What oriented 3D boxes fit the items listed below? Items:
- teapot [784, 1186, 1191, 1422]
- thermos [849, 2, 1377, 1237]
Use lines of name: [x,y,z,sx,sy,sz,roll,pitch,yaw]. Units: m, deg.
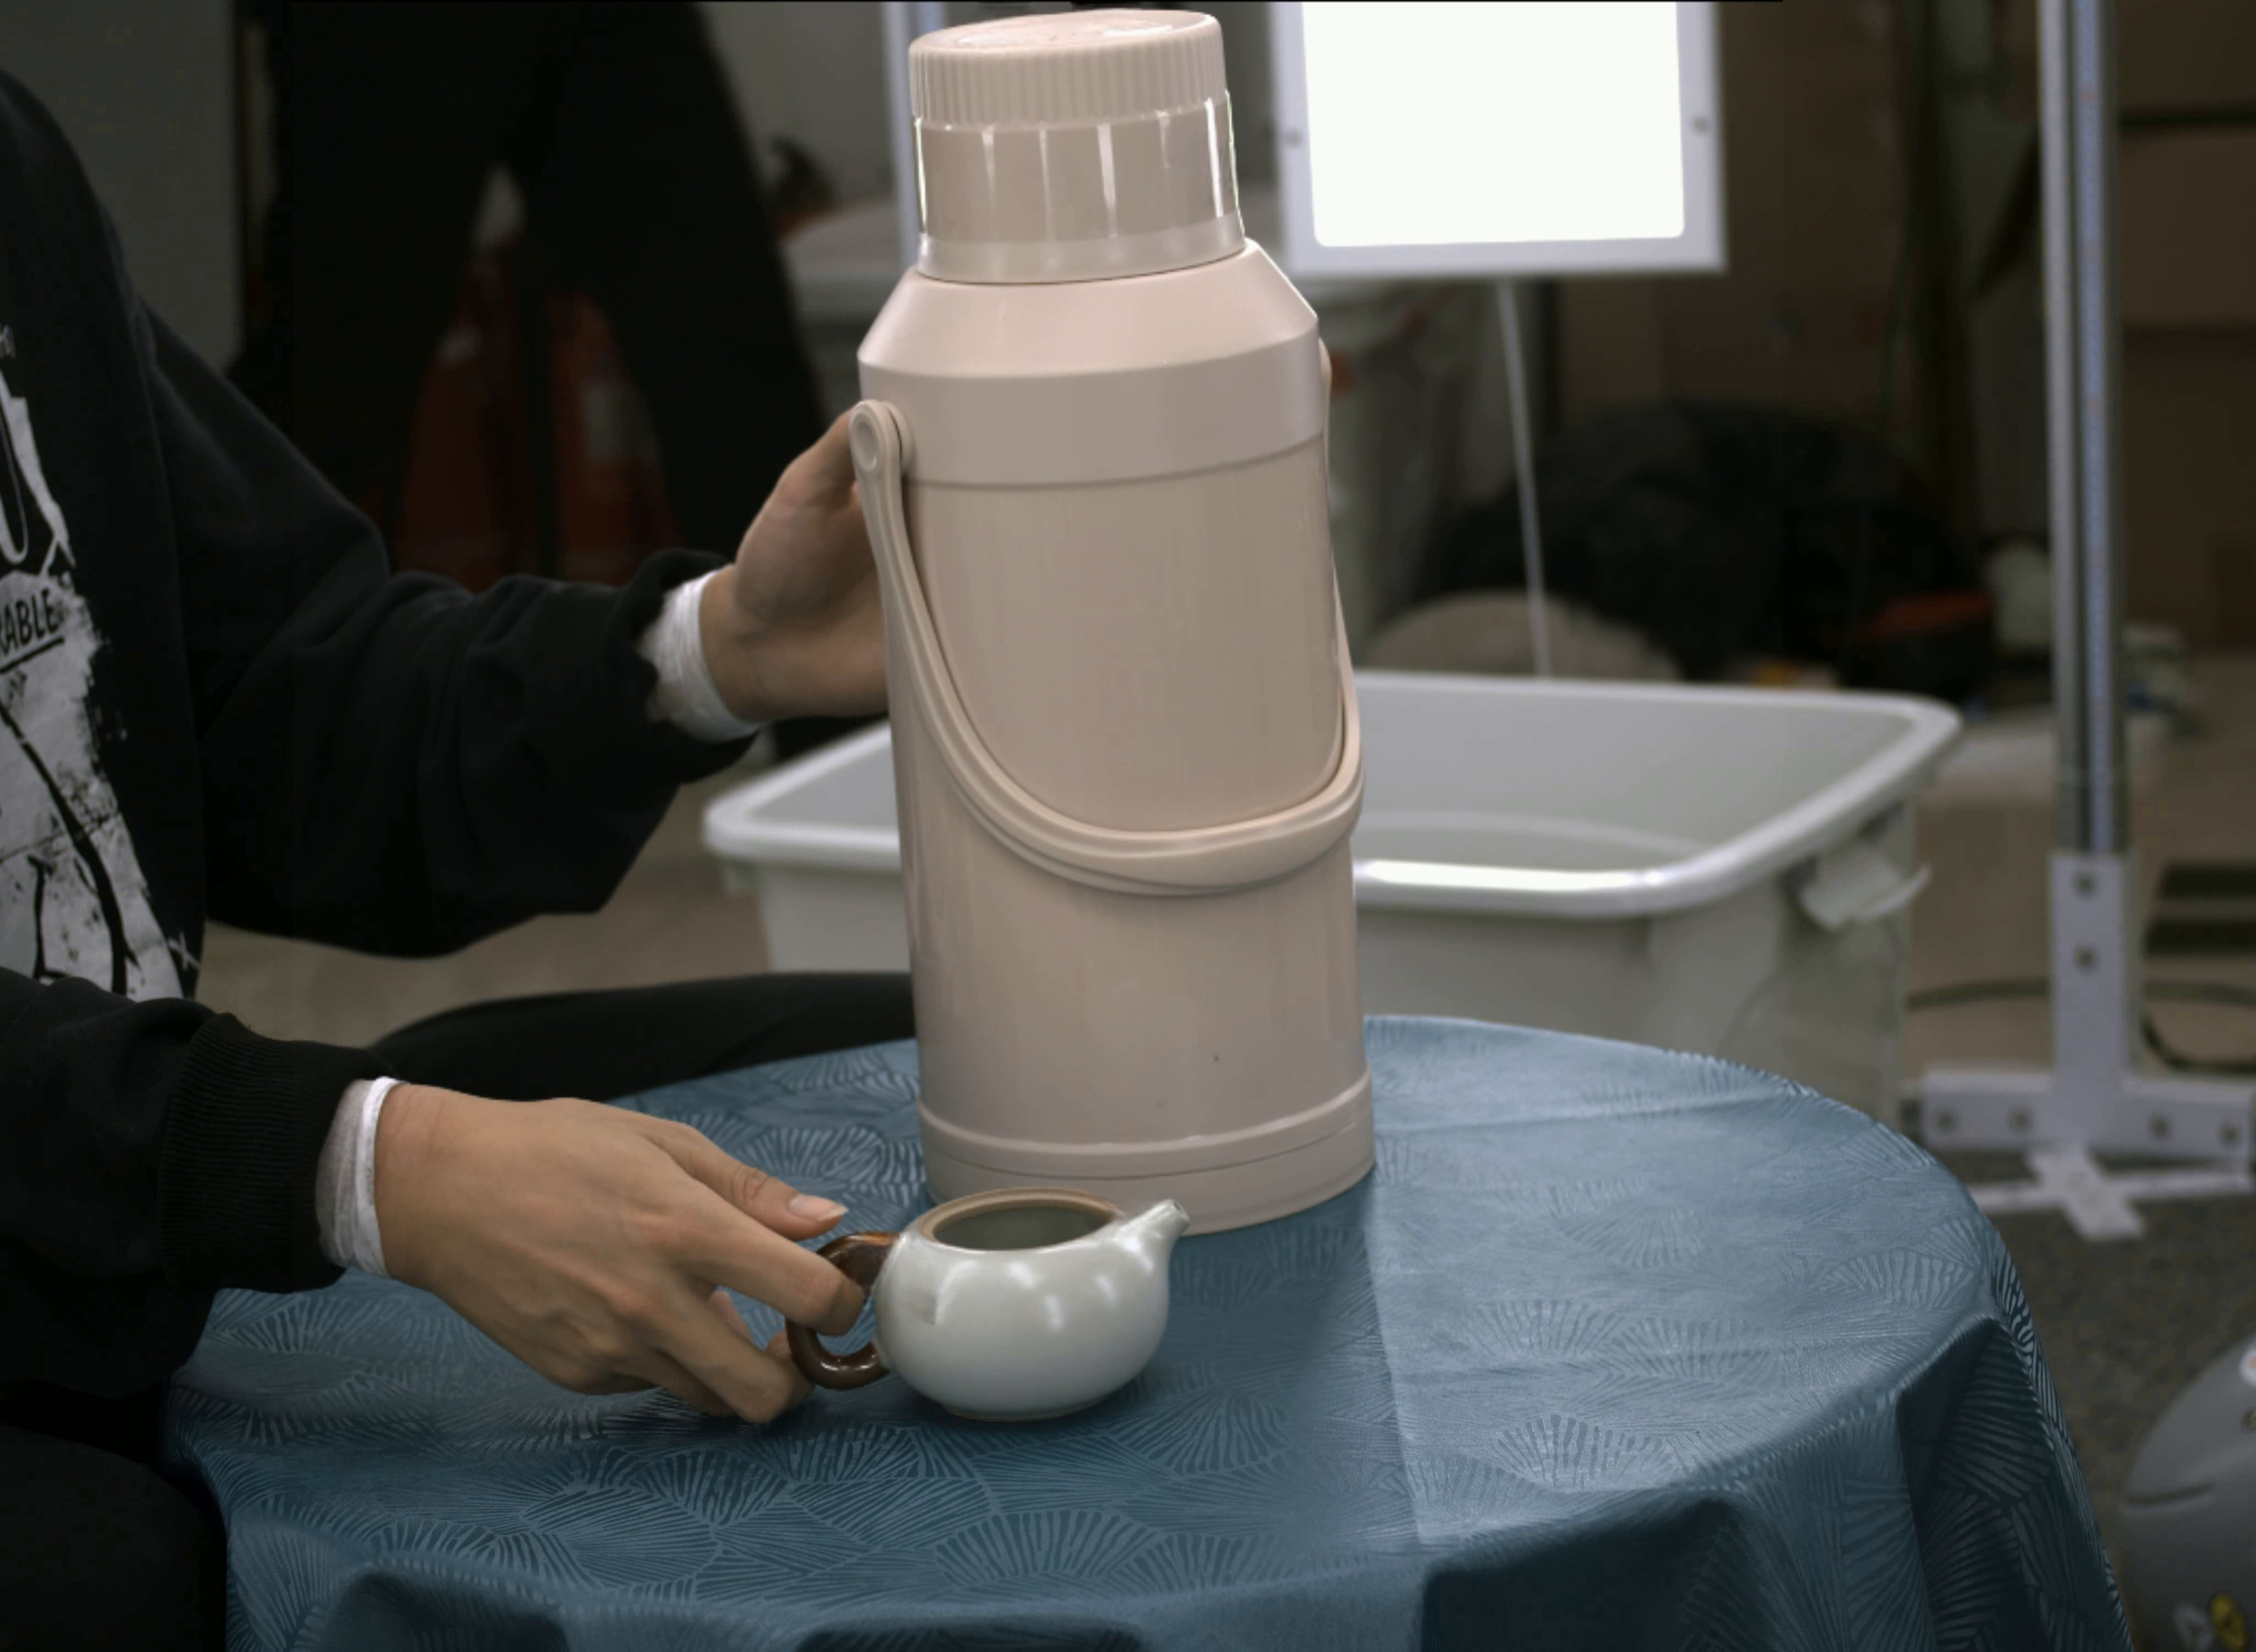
teapot: [-0.042,0.149,1.703,0.127,0.060,0.092,-5,17,-6]
thermos: [-0.013,-0.074,1.887,0.171,0.408,0.211,-14,17,-28]
